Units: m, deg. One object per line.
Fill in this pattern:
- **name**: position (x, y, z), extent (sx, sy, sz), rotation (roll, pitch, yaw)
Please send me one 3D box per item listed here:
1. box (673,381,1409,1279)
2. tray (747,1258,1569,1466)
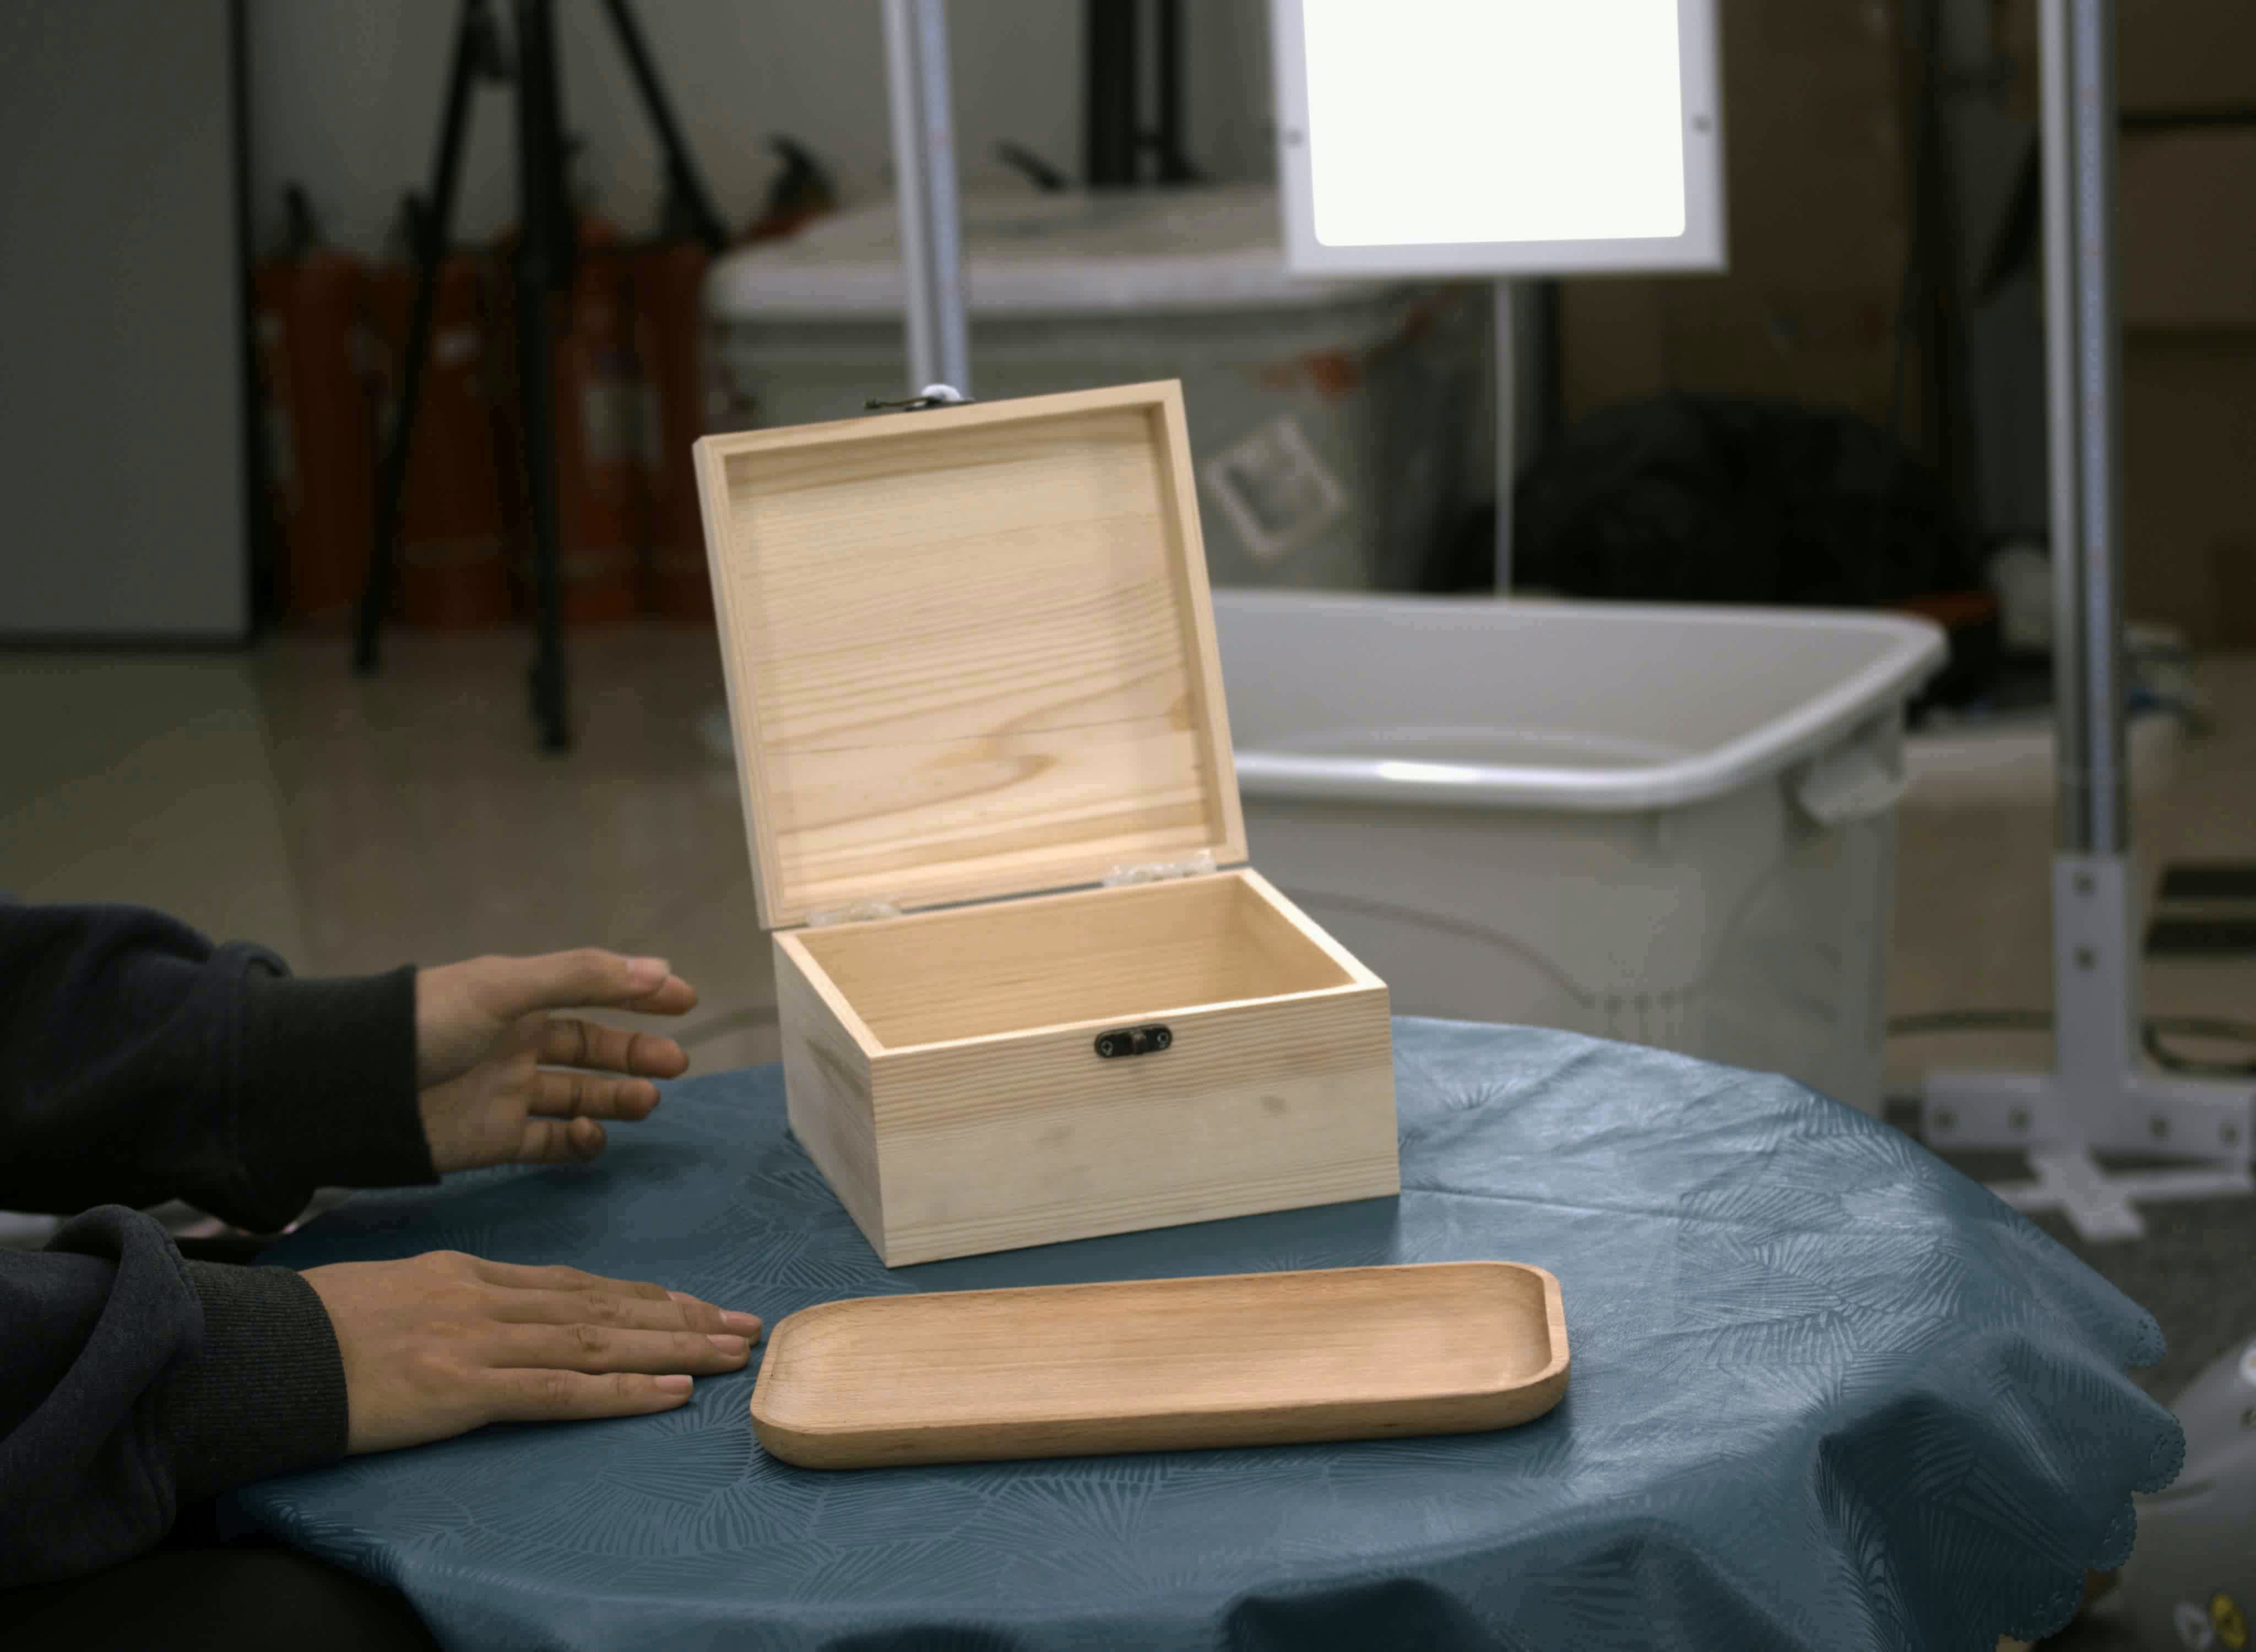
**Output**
- **box**: position (-0.035, -0.007, 1.943), extent (0.179, 0.254, 0.267), rotation (-10, 13, -12)
- **tray**: position (0.010, 0.165, 1.698), extent (0.251, 0.023, 0.130), rotation (-4, 11, 6)
